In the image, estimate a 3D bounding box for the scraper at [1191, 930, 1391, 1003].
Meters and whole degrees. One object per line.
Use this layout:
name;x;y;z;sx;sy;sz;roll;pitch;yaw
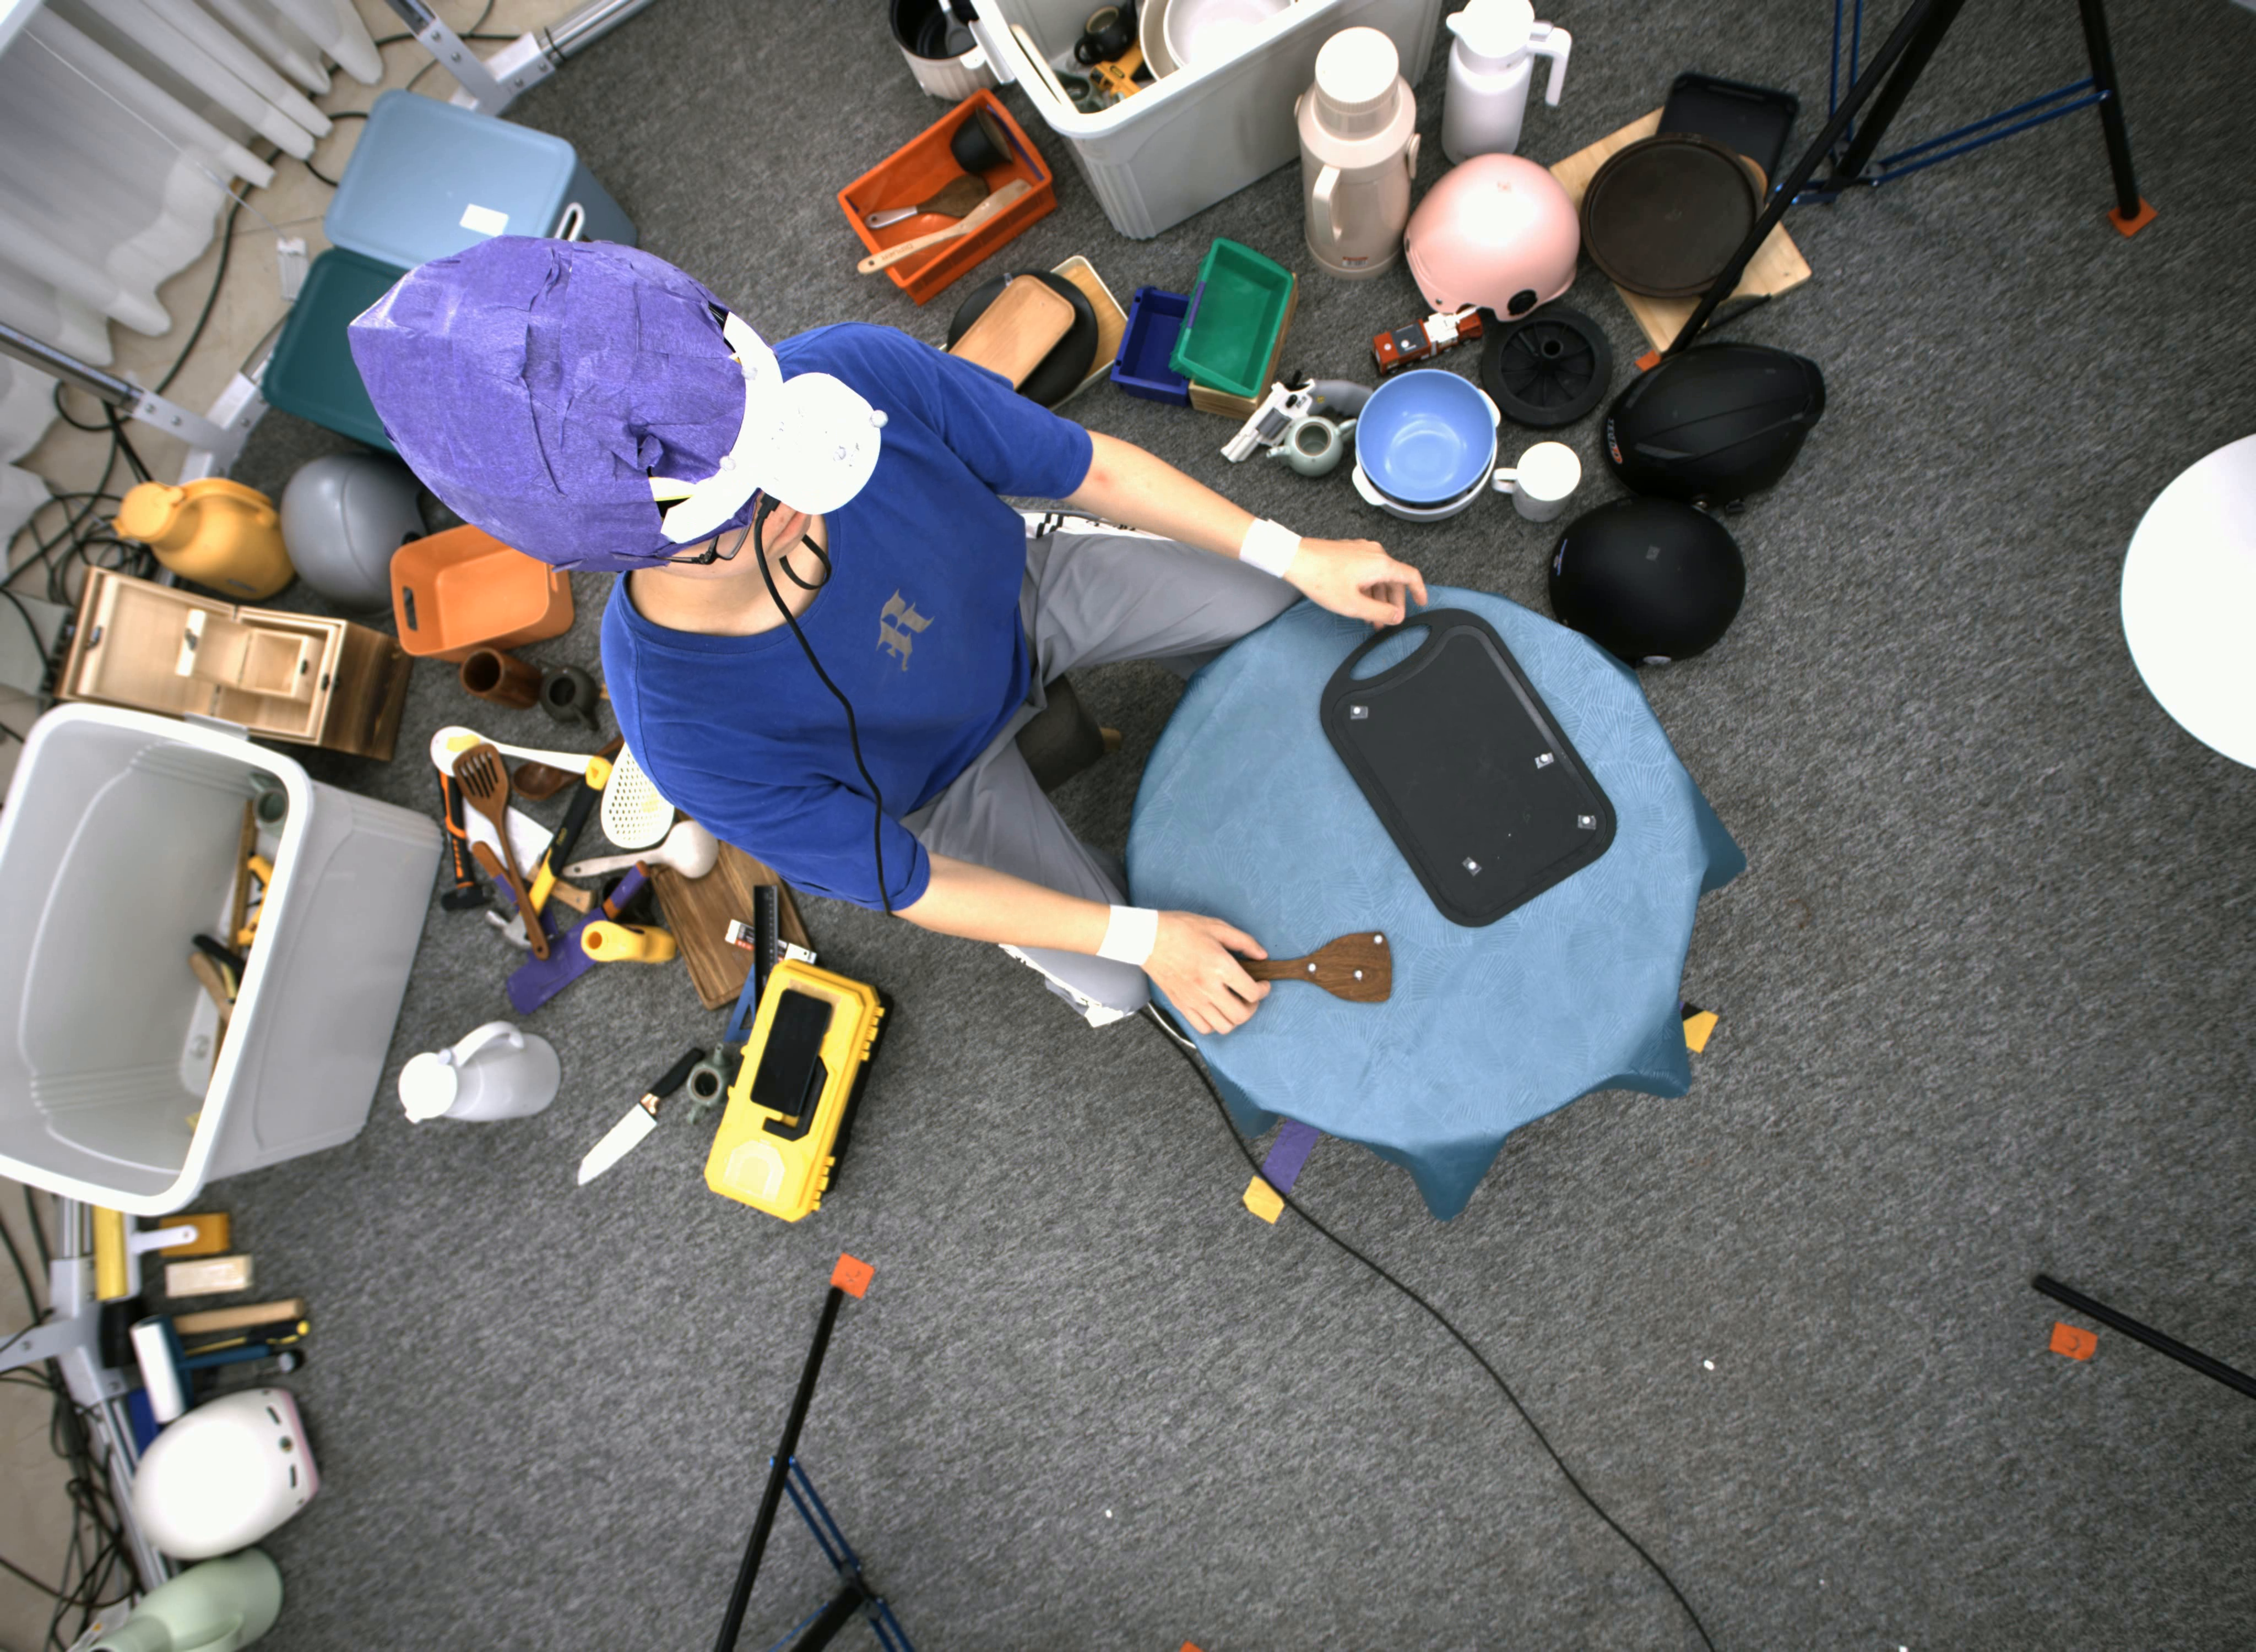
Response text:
scraper;0.172;0.151;1.468;0.212;0.011;0.075;-3;86;11

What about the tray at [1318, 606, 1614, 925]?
tray;0.348;-0.073;1.442;0.212;0.010;0.324;-32;84;8
